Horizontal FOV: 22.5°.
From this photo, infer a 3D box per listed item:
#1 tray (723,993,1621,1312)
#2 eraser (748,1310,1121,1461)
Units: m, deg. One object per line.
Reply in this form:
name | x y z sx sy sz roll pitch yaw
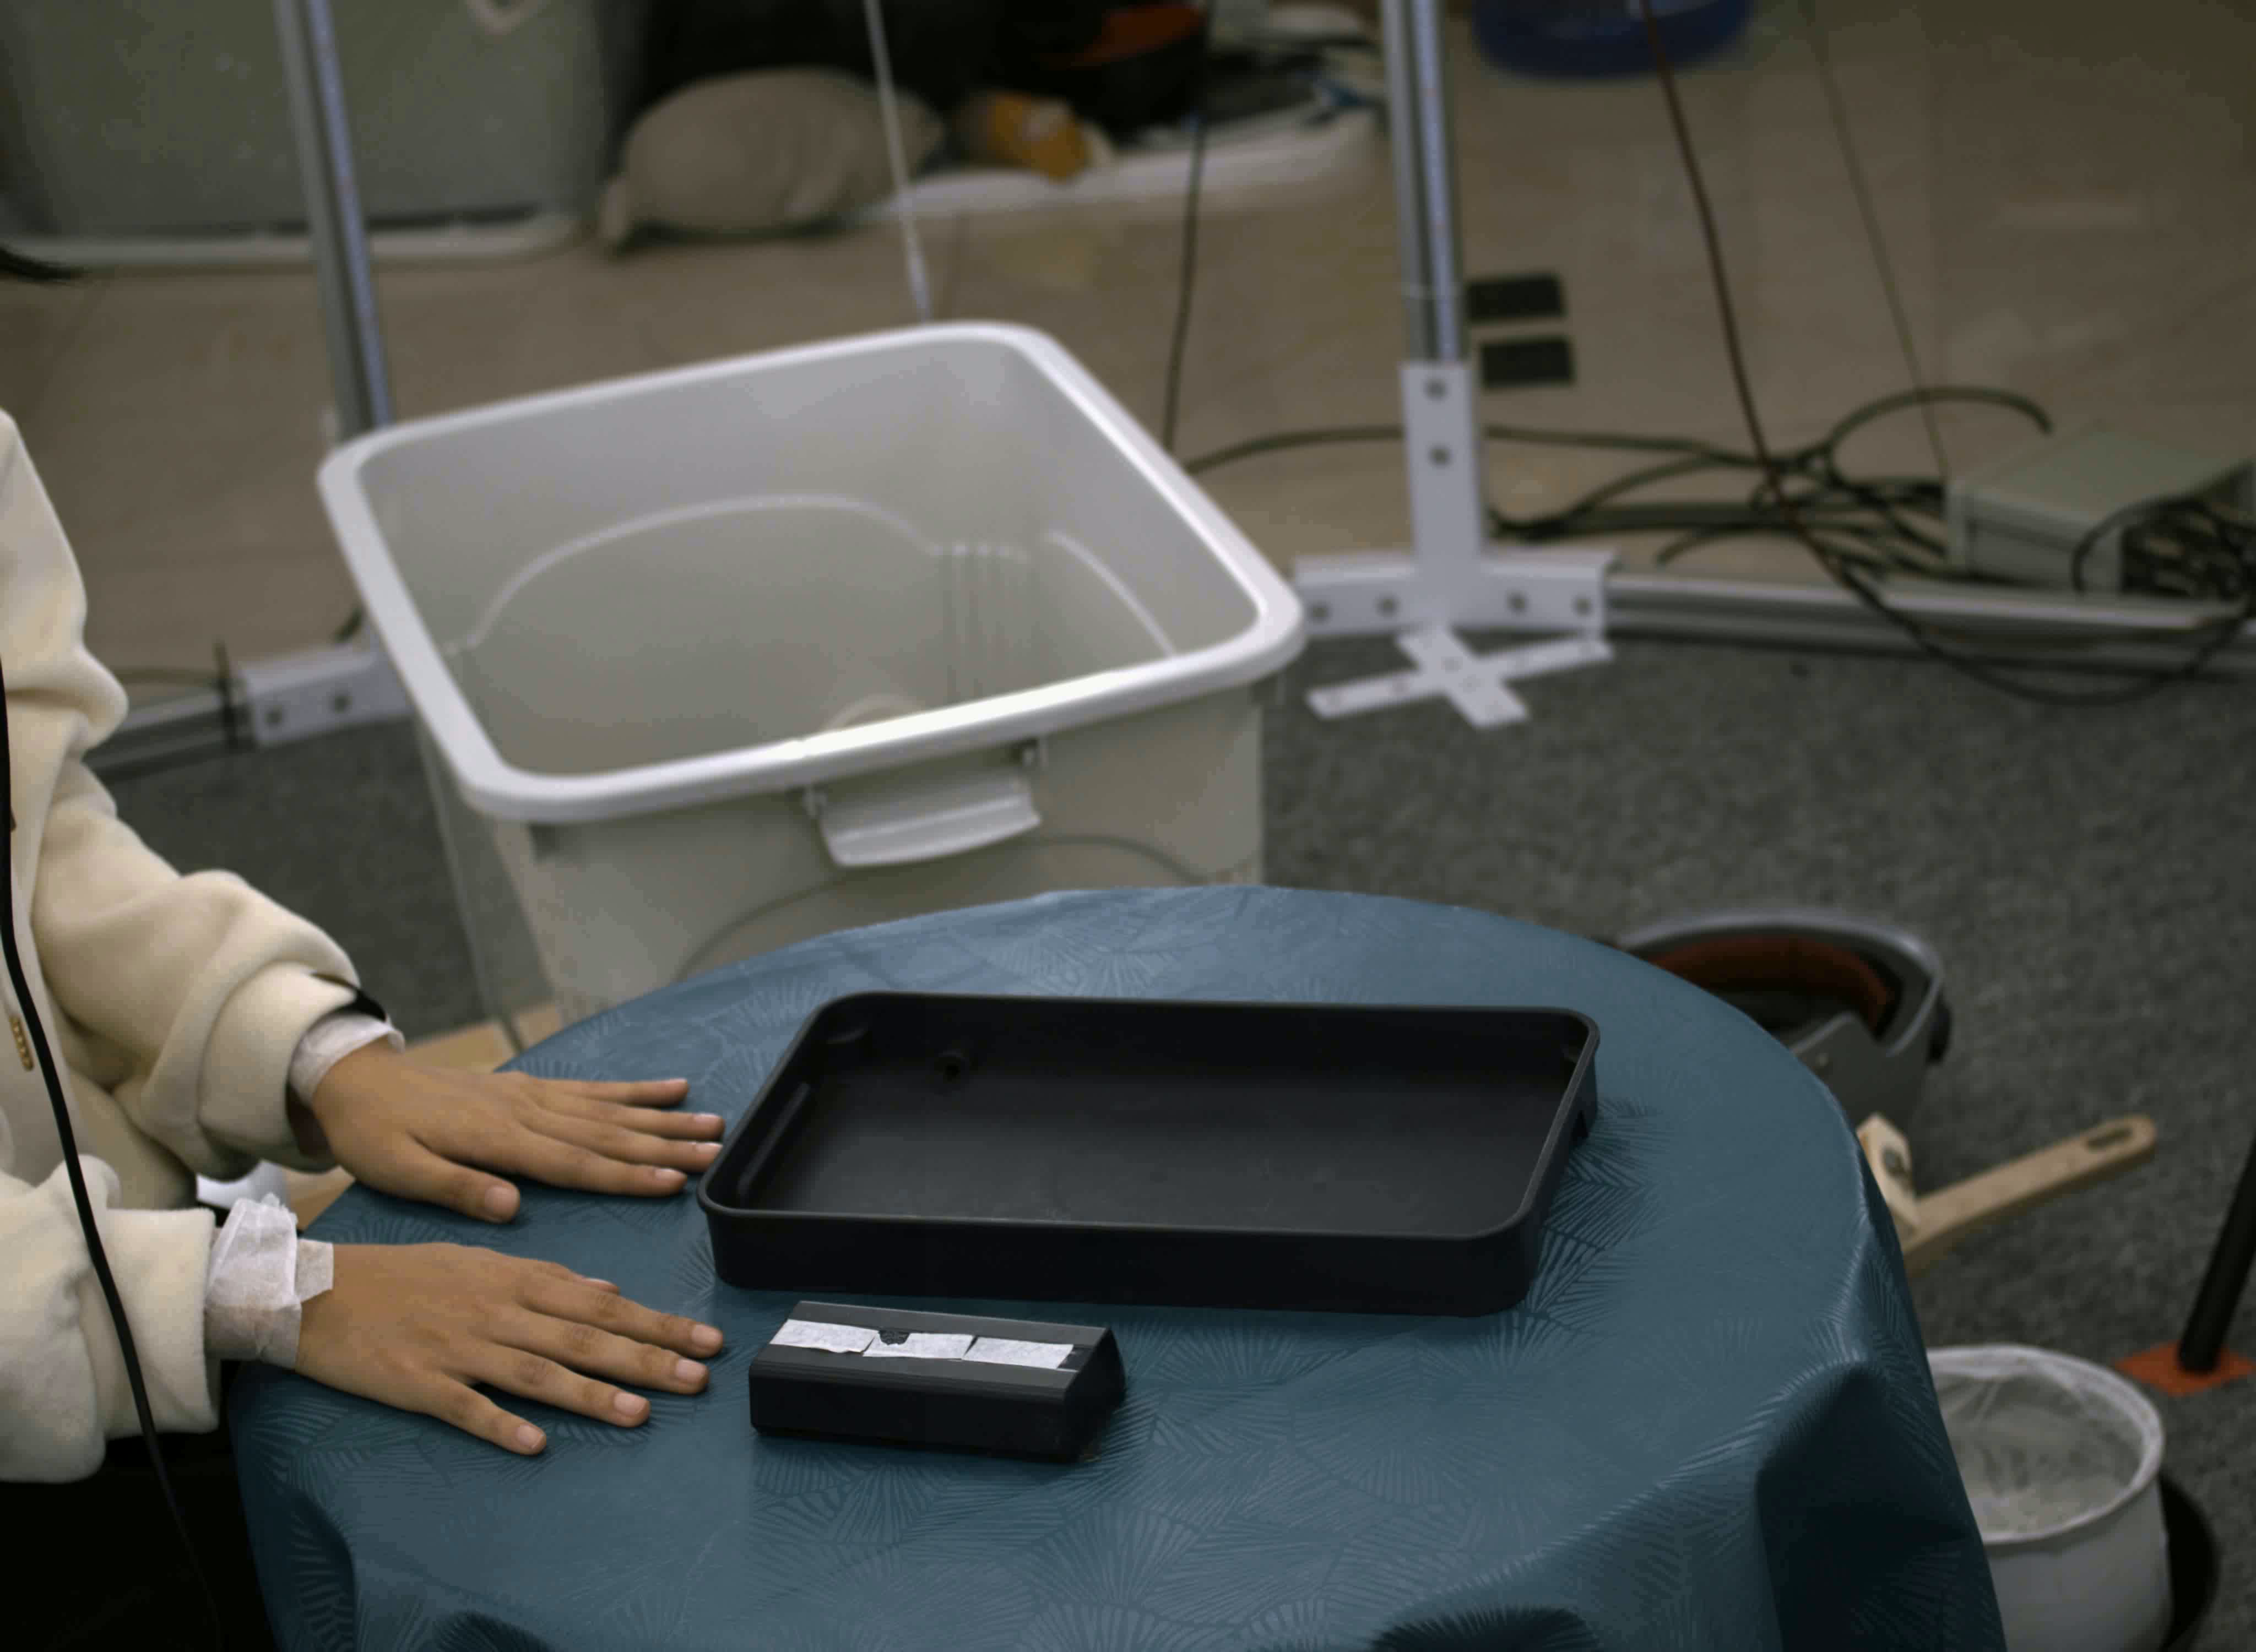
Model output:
tray | 0.020 0.121 2.137 0.317 0.037 0.181 0 26 13
eraser | -0.067 0.197 2.007 0.125 0.031 0.053 3 23 20
